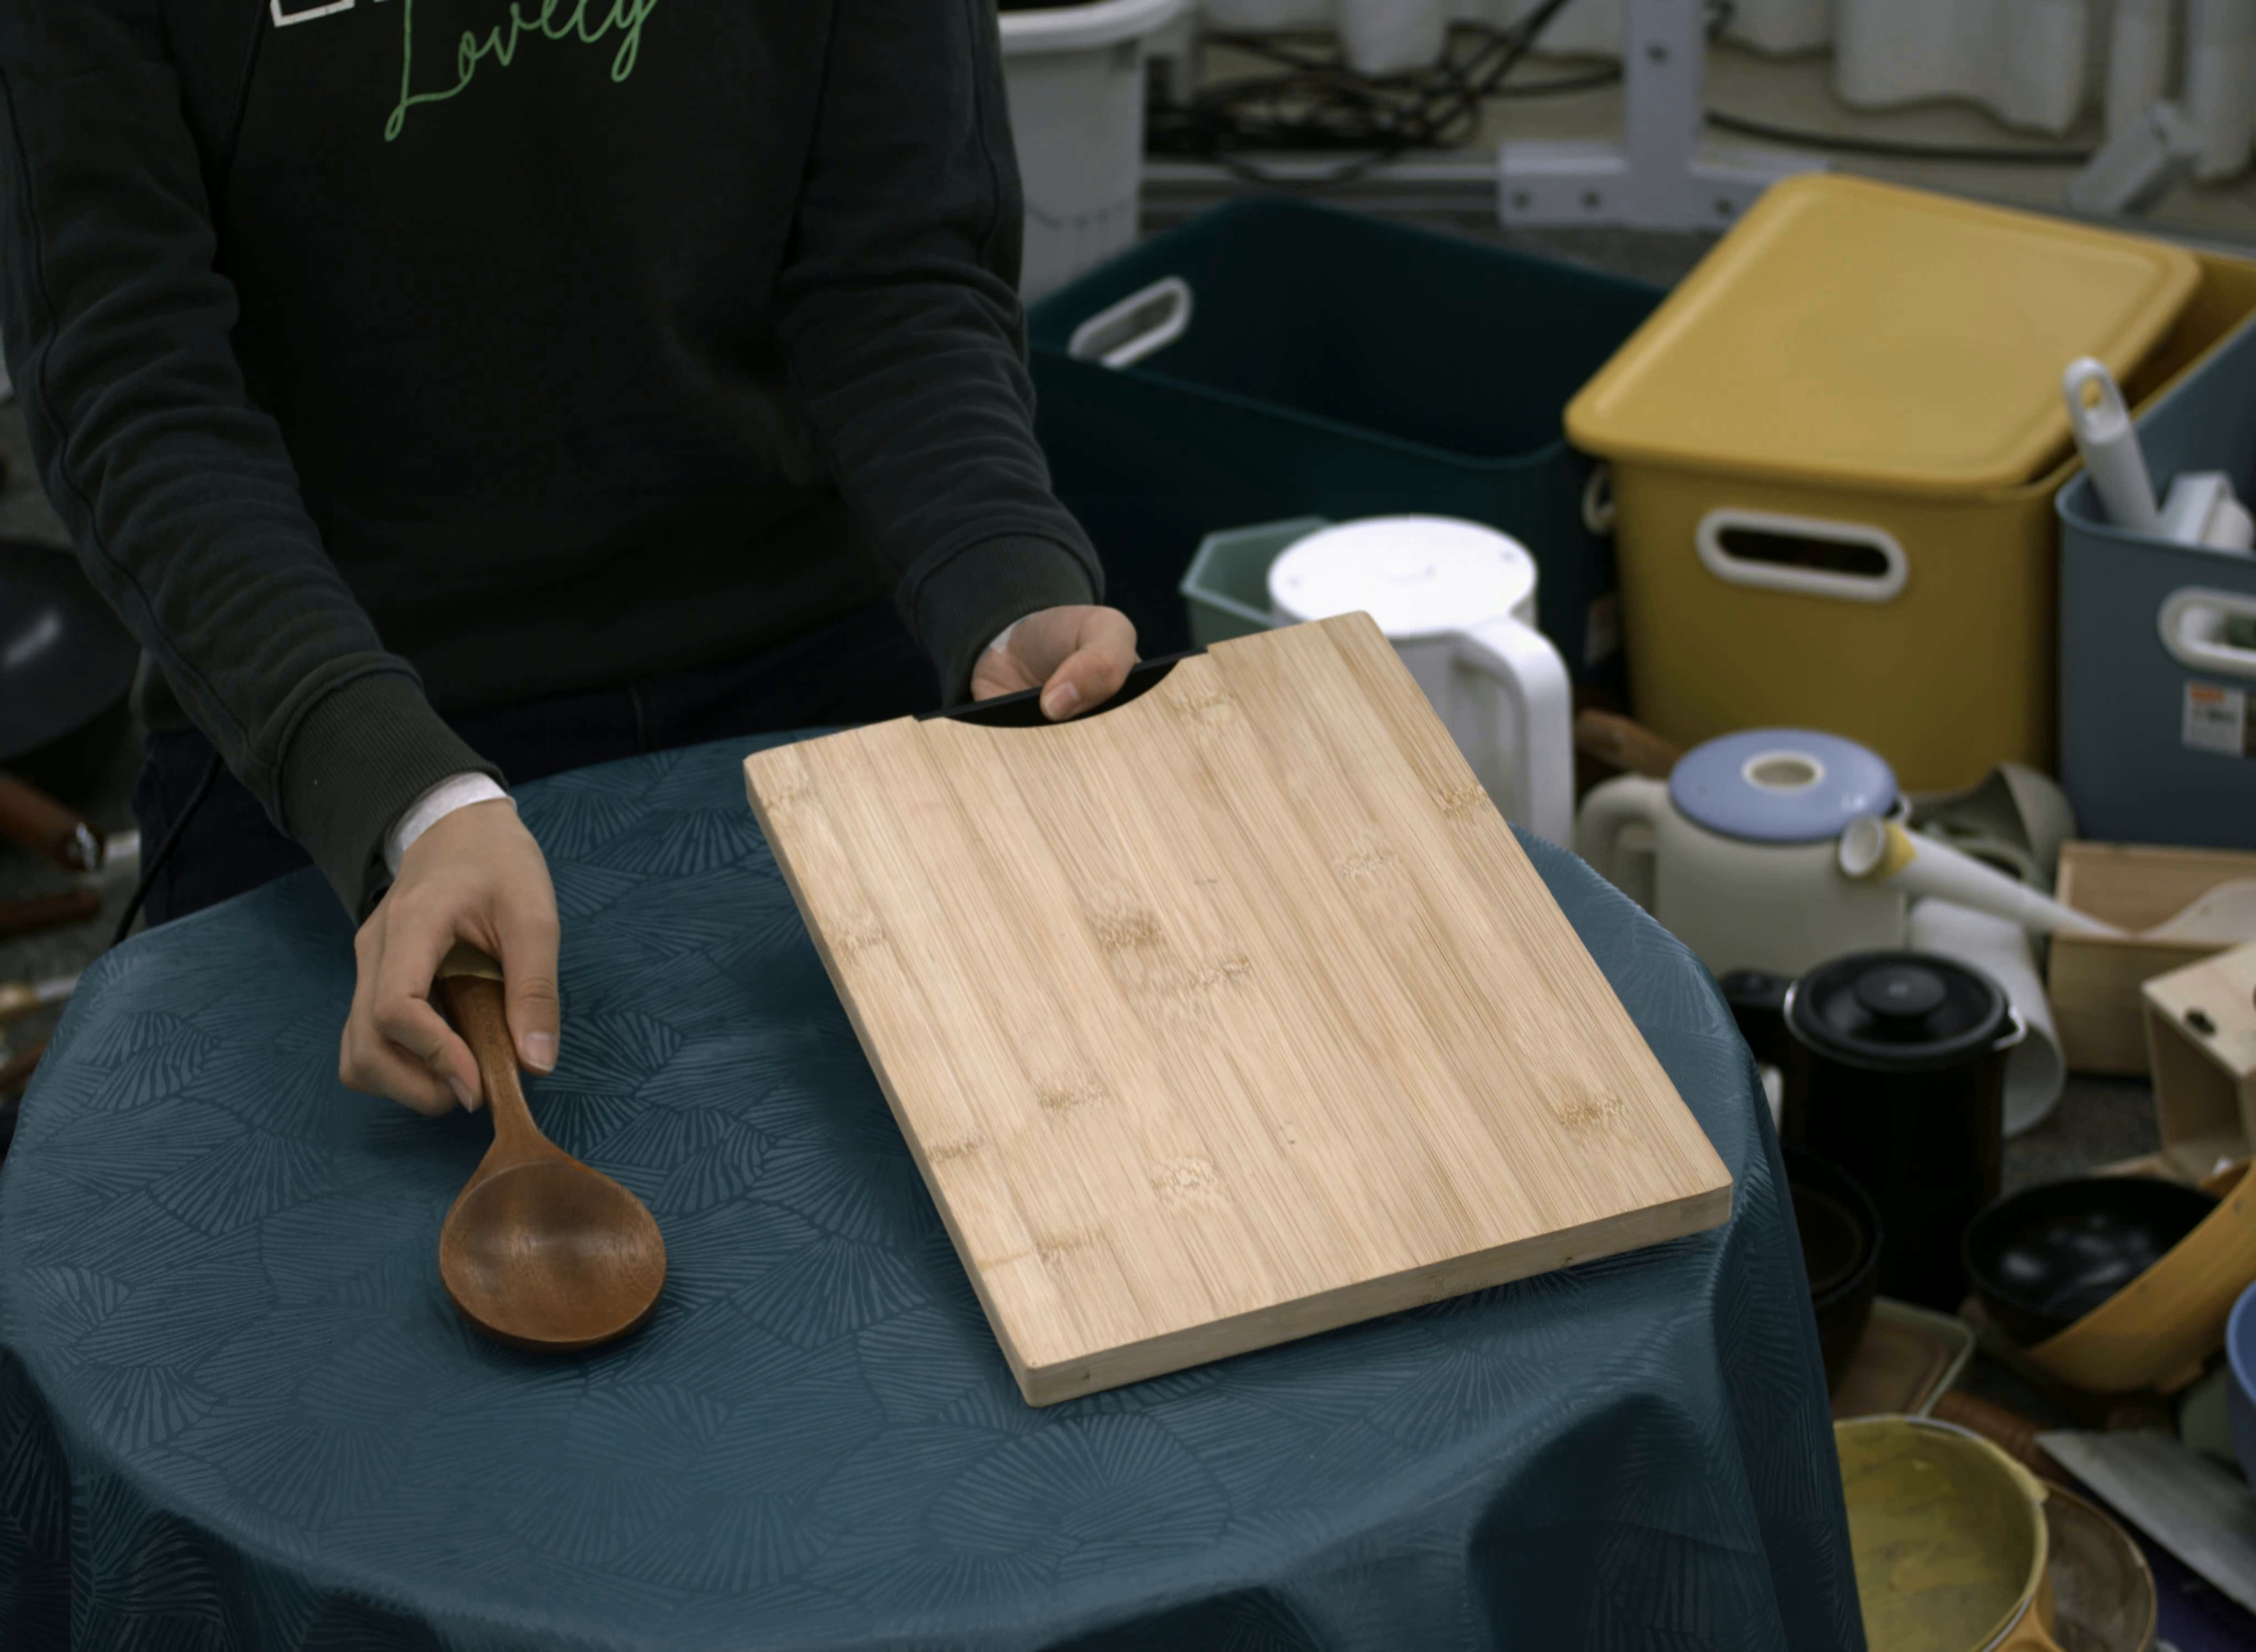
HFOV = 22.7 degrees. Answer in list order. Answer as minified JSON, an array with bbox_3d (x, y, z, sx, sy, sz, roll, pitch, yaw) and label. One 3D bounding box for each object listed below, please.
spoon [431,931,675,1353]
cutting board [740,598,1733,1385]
[{"bbox_3d":[-0.201,0.105,1.863,0.075,0.017,0.219,-8,38,-13],"label":"spoon"},{"bbox_3d":[0.028,0.048,1.908,0.251,0.023,0.353,-13,38,-14],"label":"cutting board"}]
